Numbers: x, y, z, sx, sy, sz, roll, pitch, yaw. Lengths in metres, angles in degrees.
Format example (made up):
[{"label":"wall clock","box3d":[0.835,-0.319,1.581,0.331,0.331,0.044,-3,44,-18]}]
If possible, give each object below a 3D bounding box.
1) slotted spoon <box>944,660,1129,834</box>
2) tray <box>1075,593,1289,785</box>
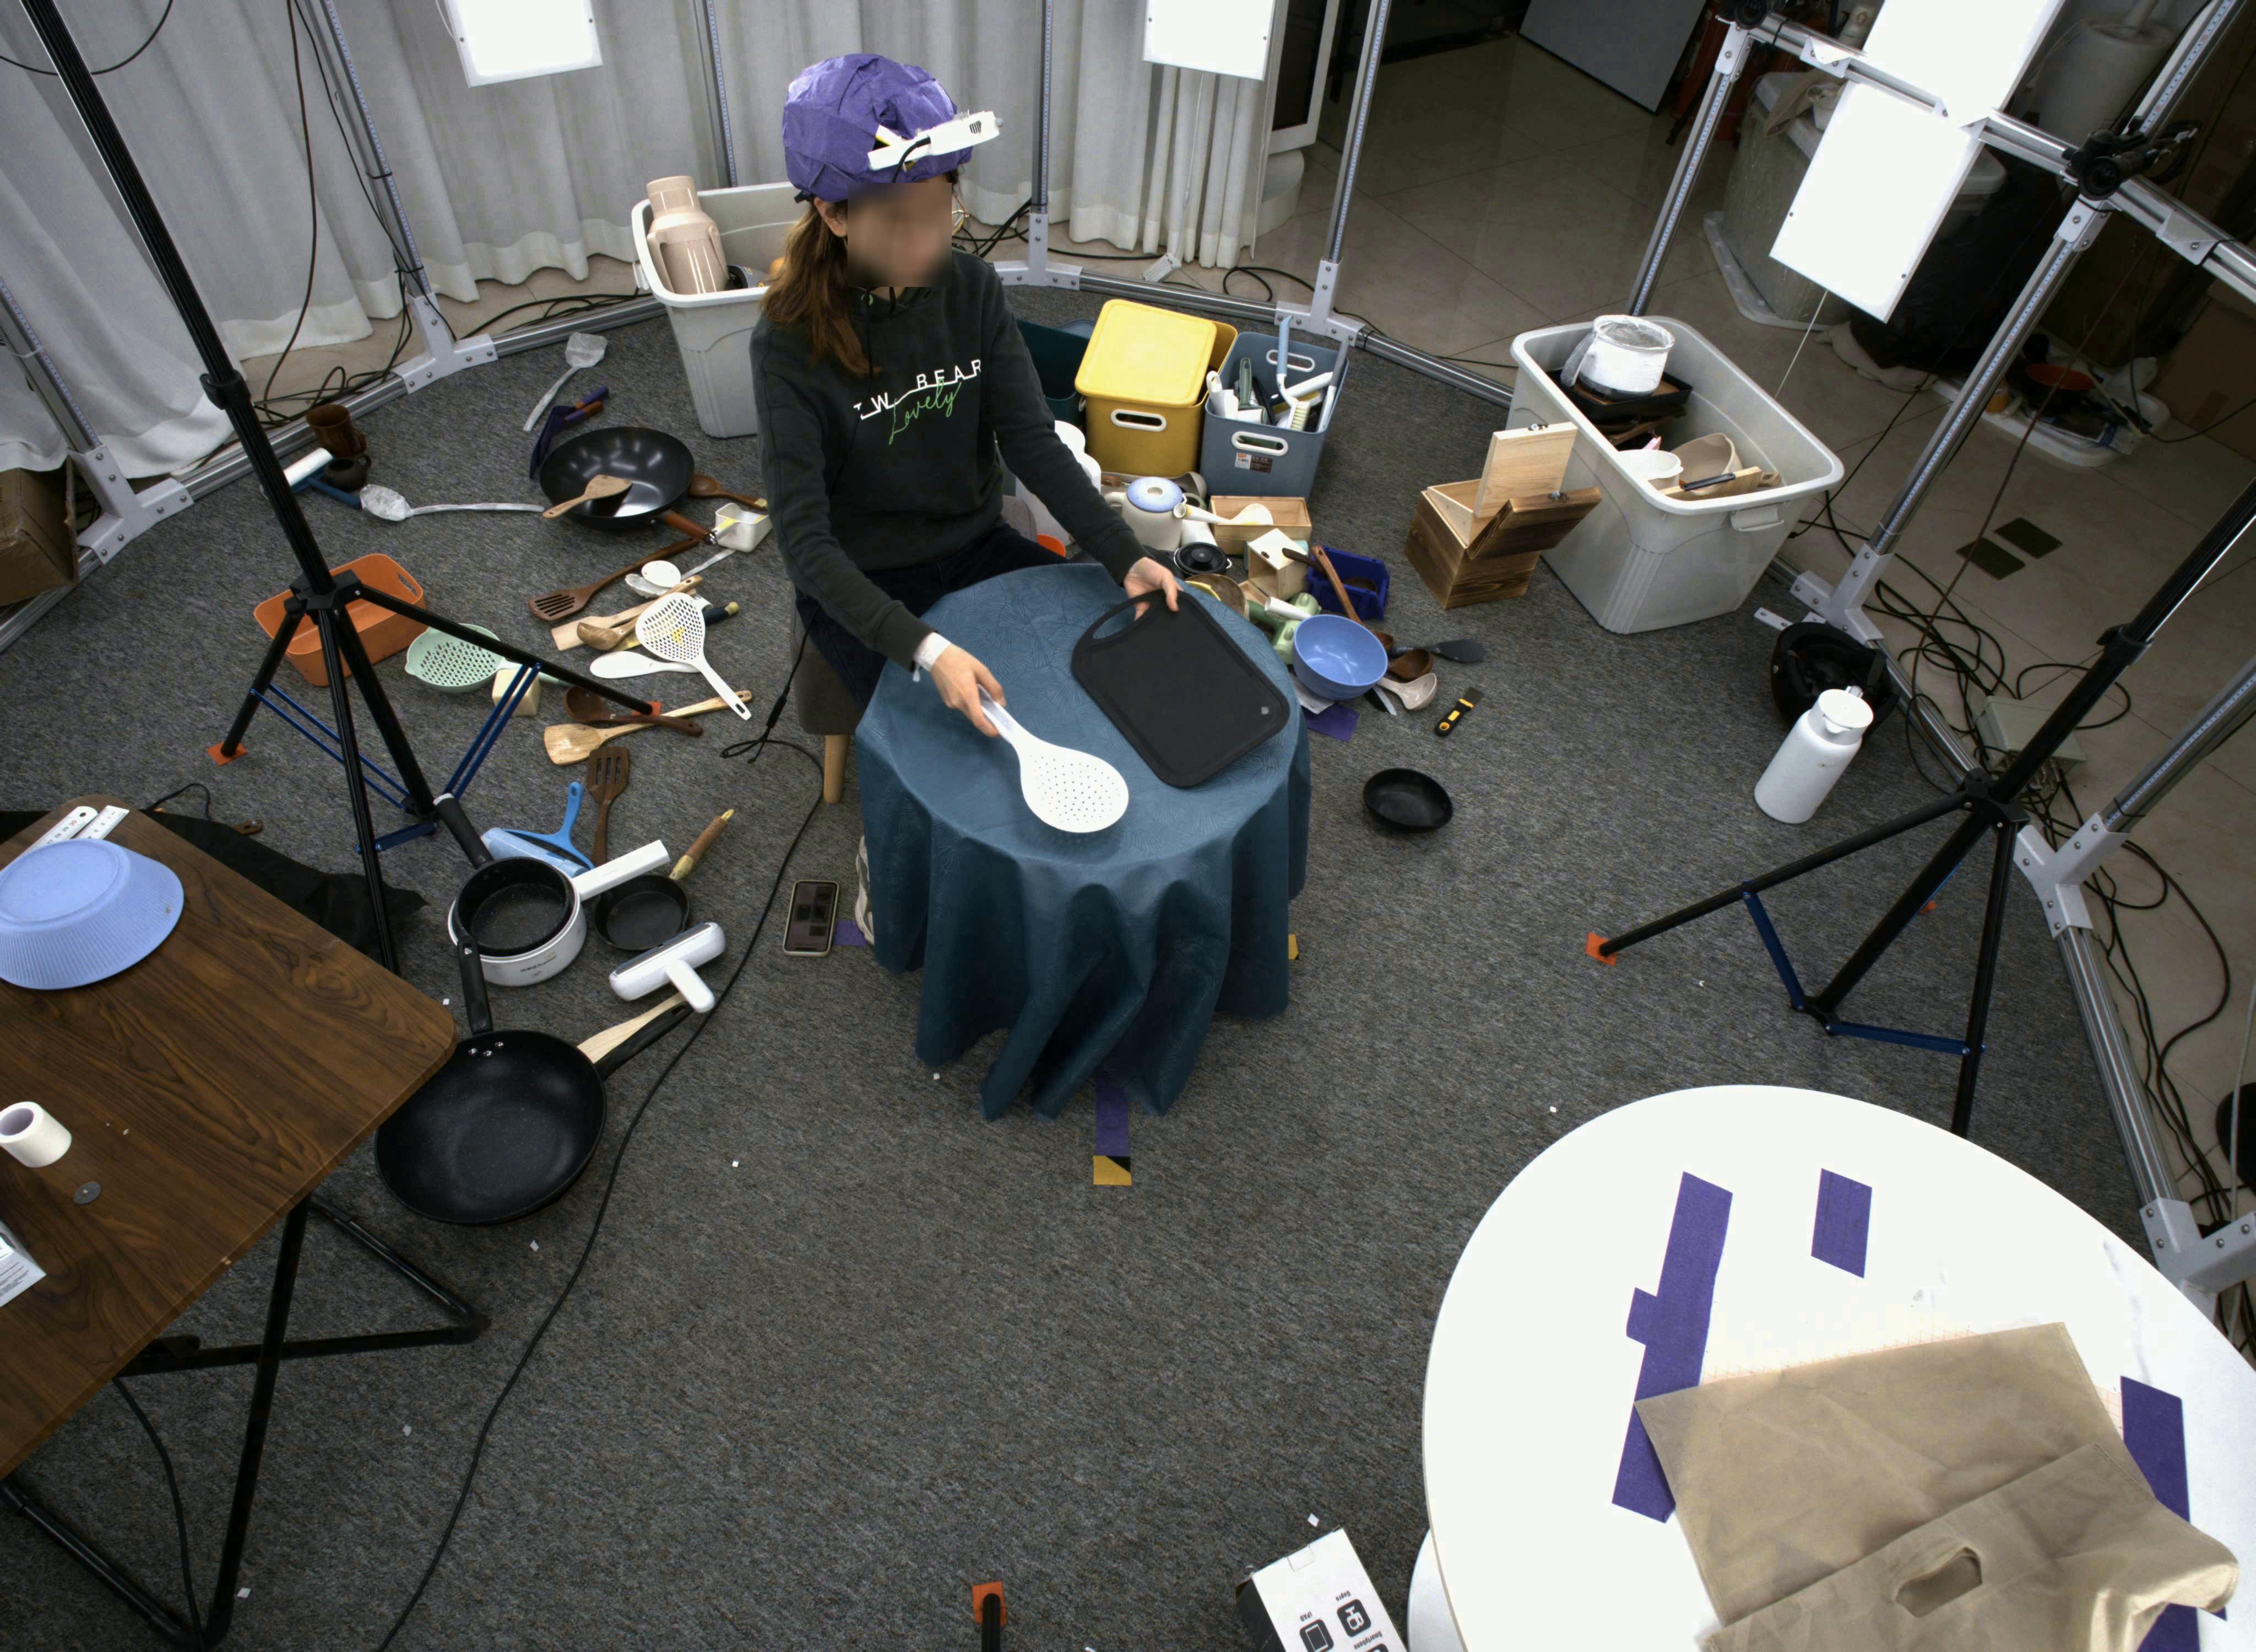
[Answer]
[{"label":"slotted spoon","box3d":[-0.136,-0.110,1.716,0.137,0.045,0.355,-27,64,-32]},{"label":"tray","box3d":[0.067,-0.206,1.822,0.211,0.009,0.332,-32,58,-8]}]
